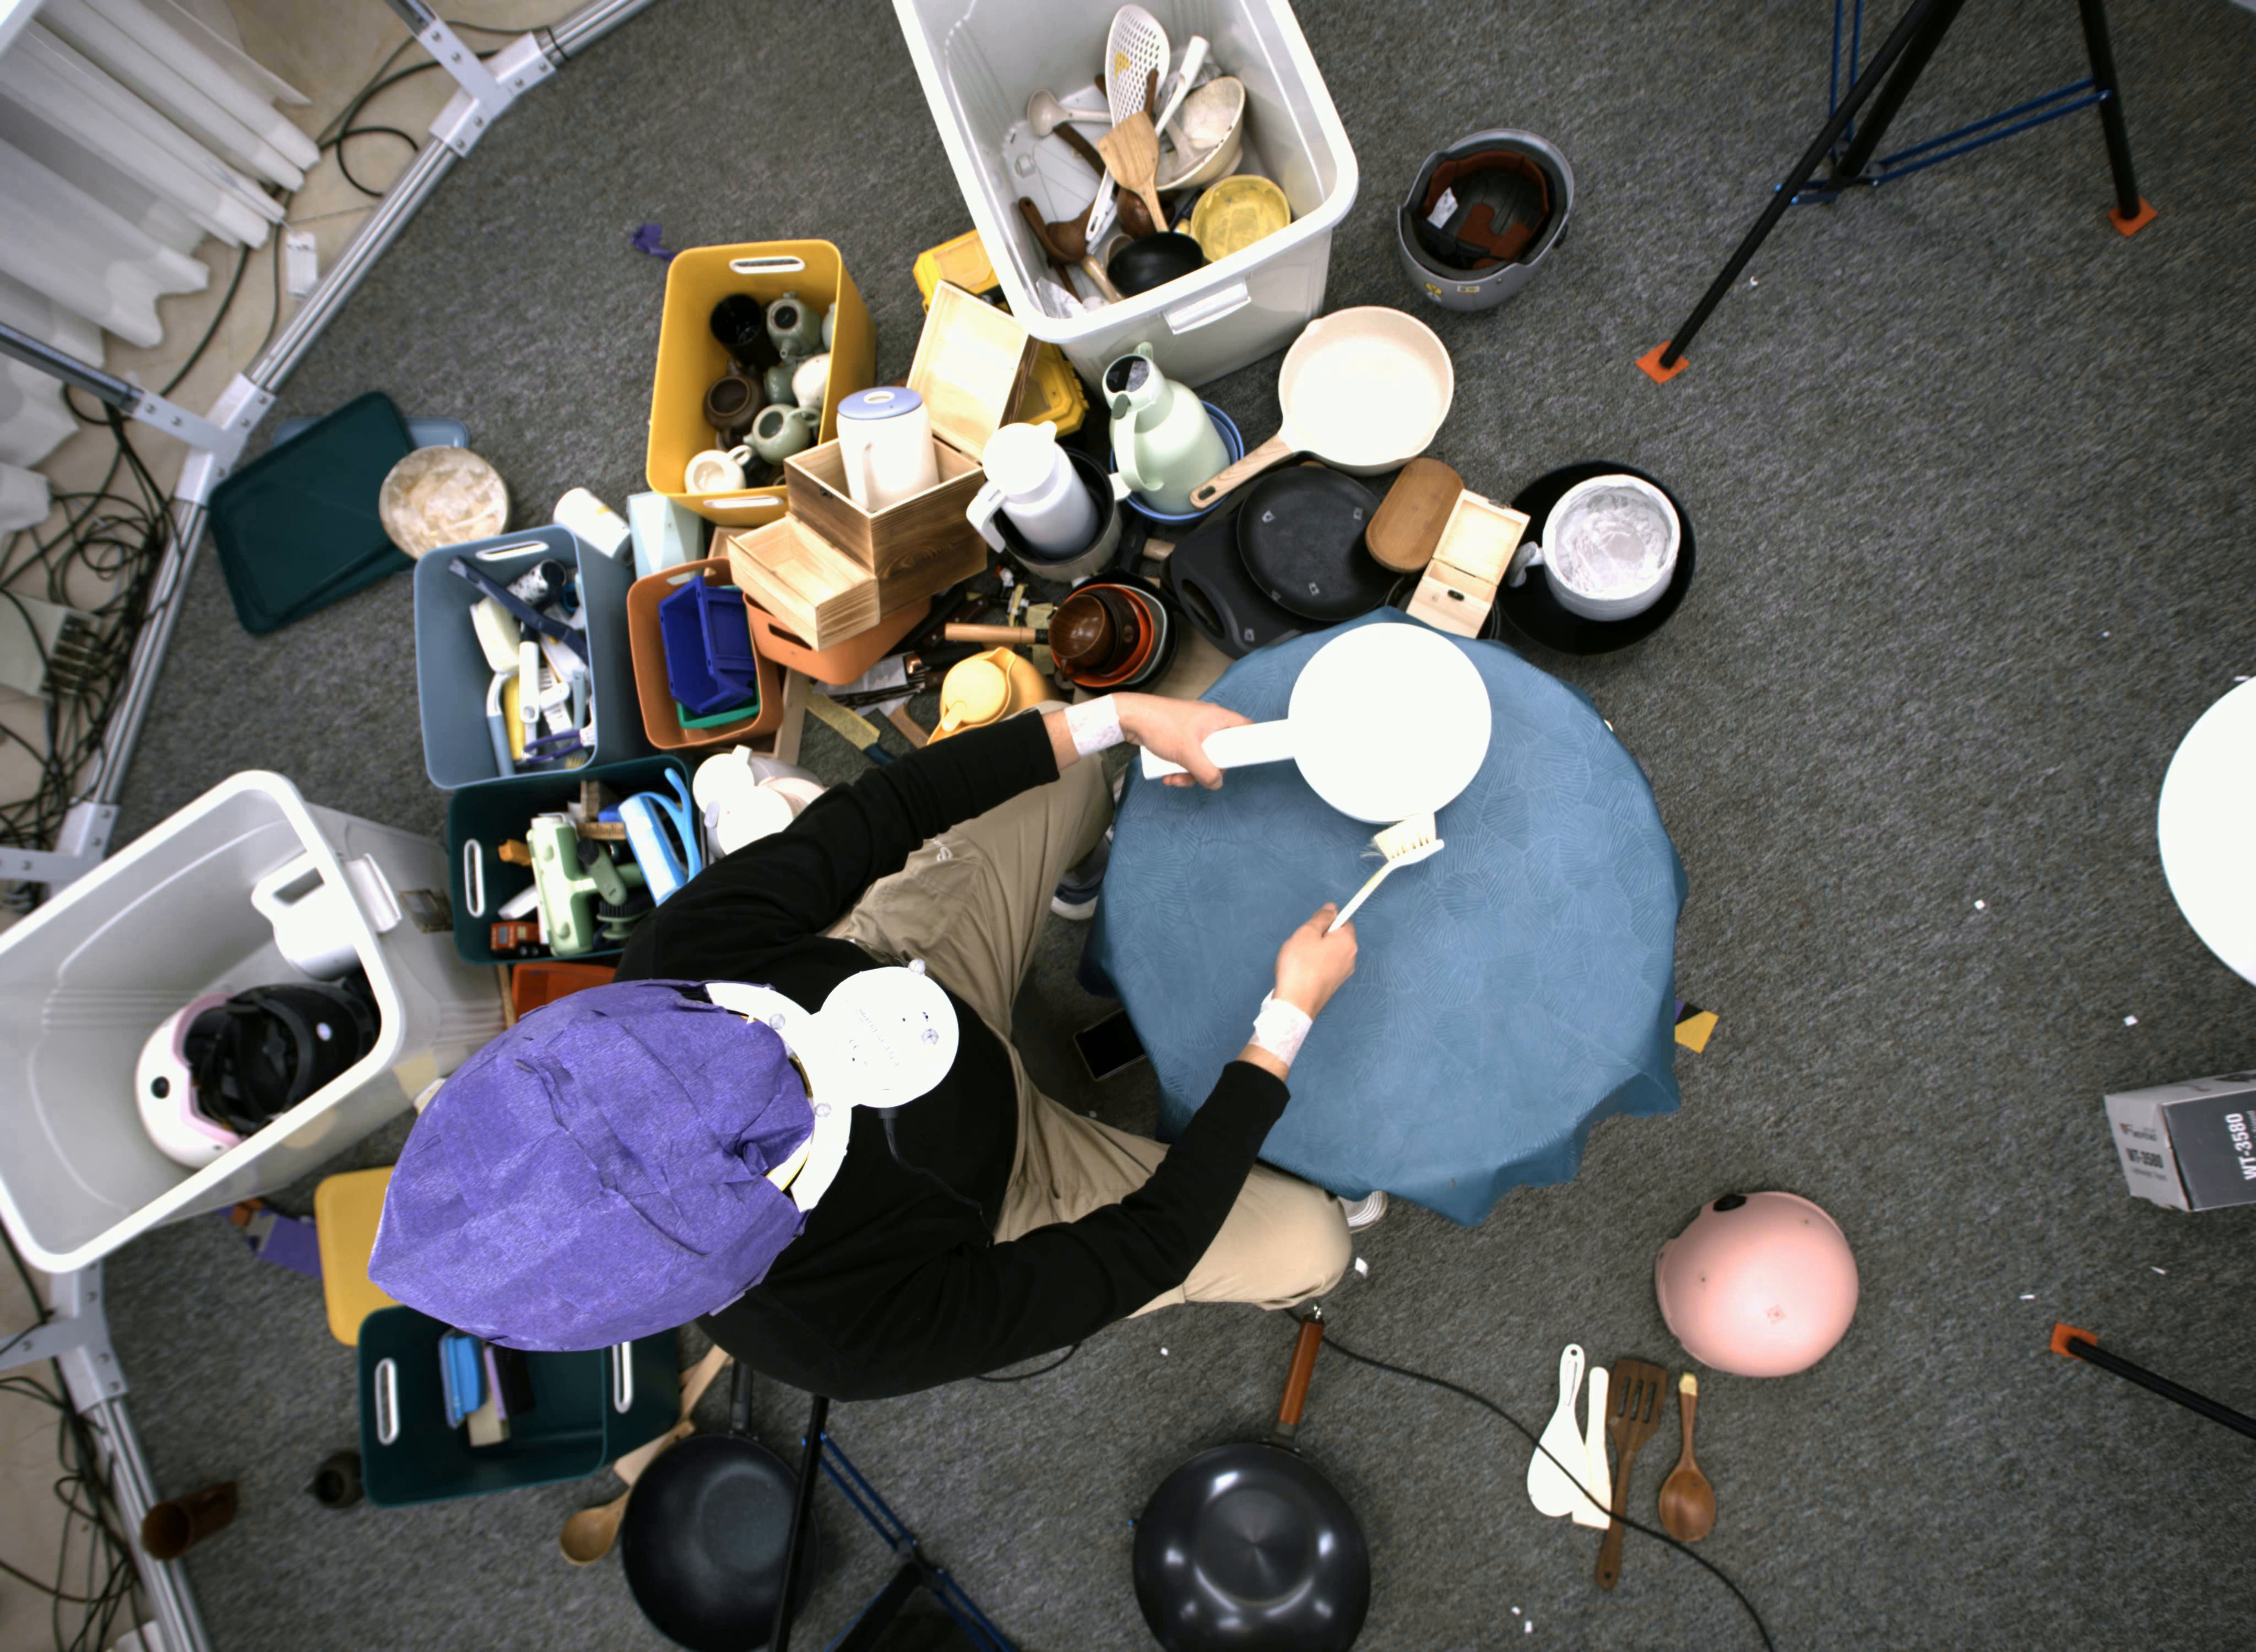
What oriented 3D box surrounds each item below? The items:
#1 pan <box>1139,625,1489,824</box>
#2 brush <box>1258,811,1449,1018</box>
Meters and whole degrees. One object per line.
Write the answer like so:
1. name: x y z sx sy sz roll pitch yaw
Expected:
1. pan: 0.193 -0.090 1.437 0.357 0.102 0.200 -9 87 11
2. brush: 0.210 0.081 1.378 0.267 0.068 0.056 -44 83 1
